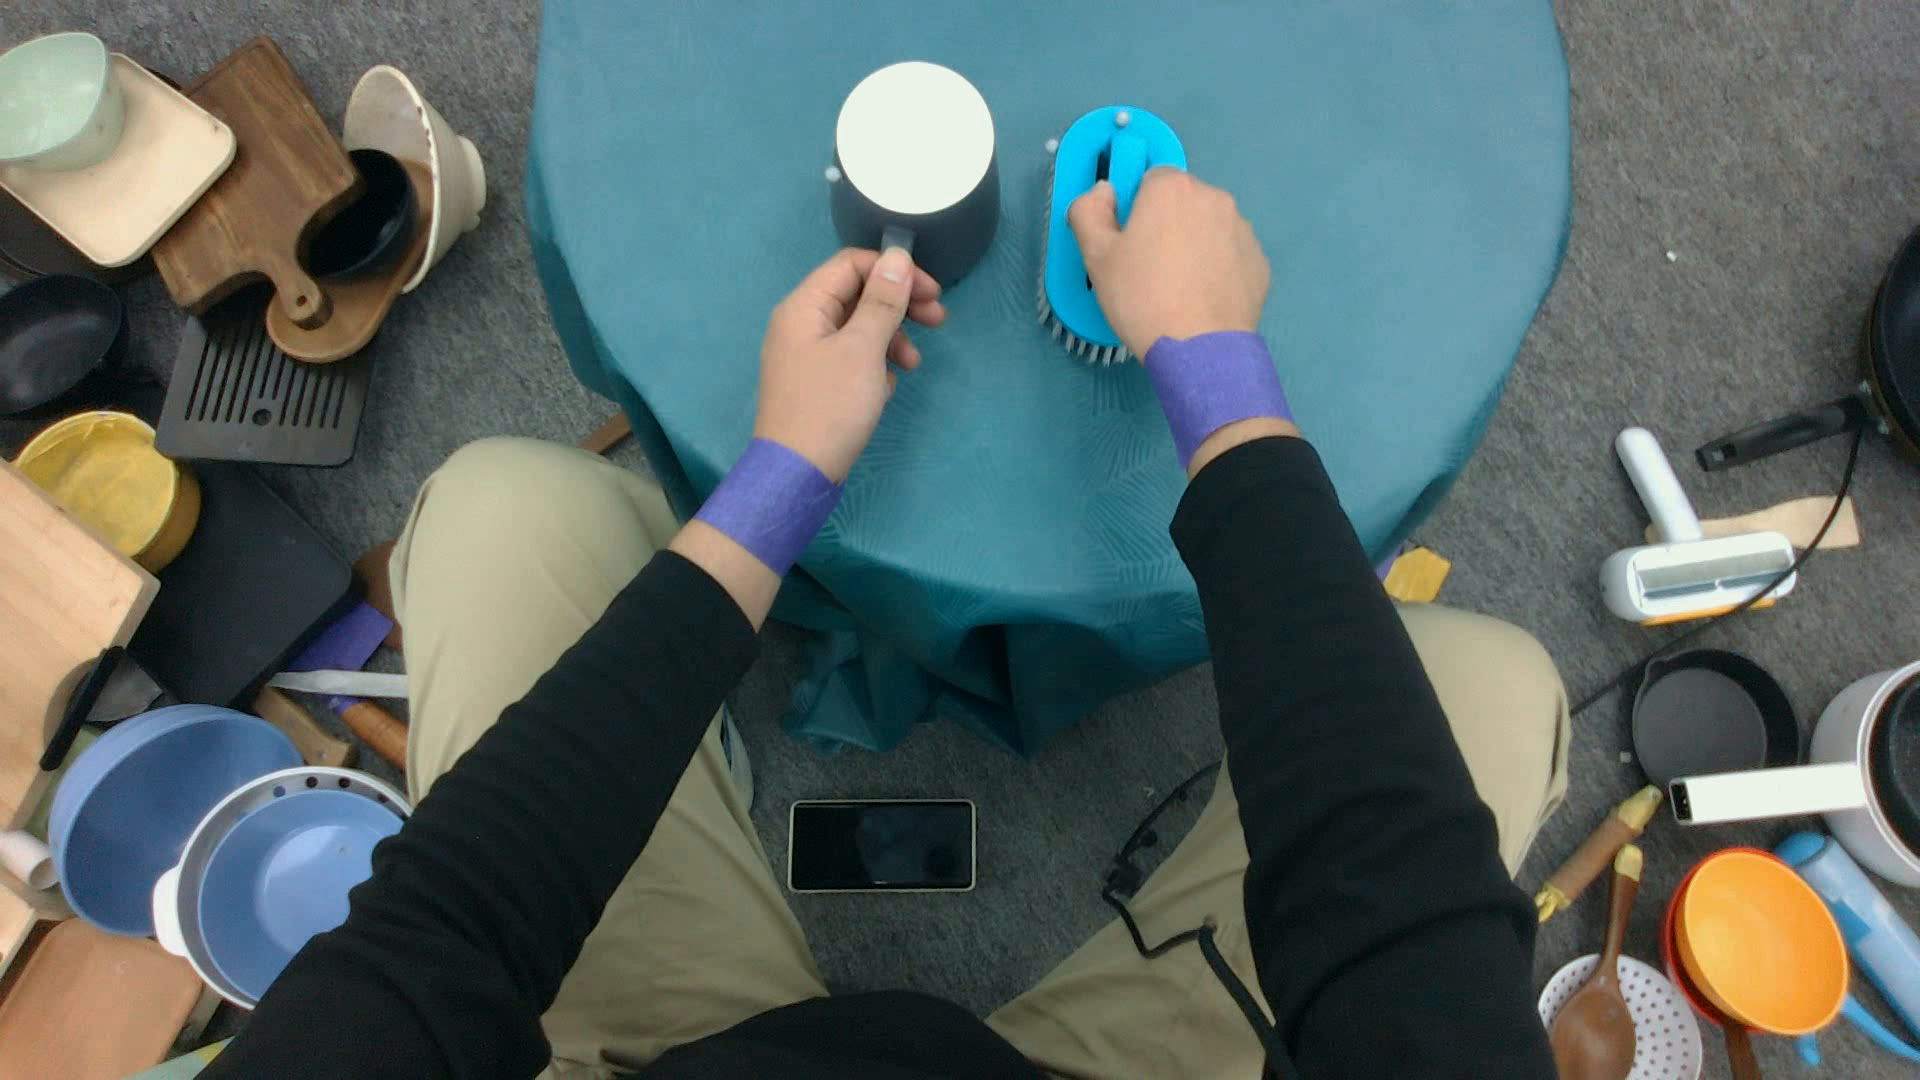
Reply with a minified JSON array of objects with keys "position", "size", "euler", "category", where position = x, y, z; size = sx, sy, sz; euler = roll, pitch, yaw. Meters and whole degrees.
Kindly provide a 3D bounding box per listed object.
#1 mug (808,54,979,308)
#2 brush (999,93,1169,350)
[{"position":[-0.038,-0.183,0.726],"size":[0.093,0.089,0.123],"euler":[12,75,0],"category":"mug"},{"position":[0.070,-0.178,0.745],"size":[0.084,0.063,0.142],"euler":[9,77,-6],"category":"brush"}]
